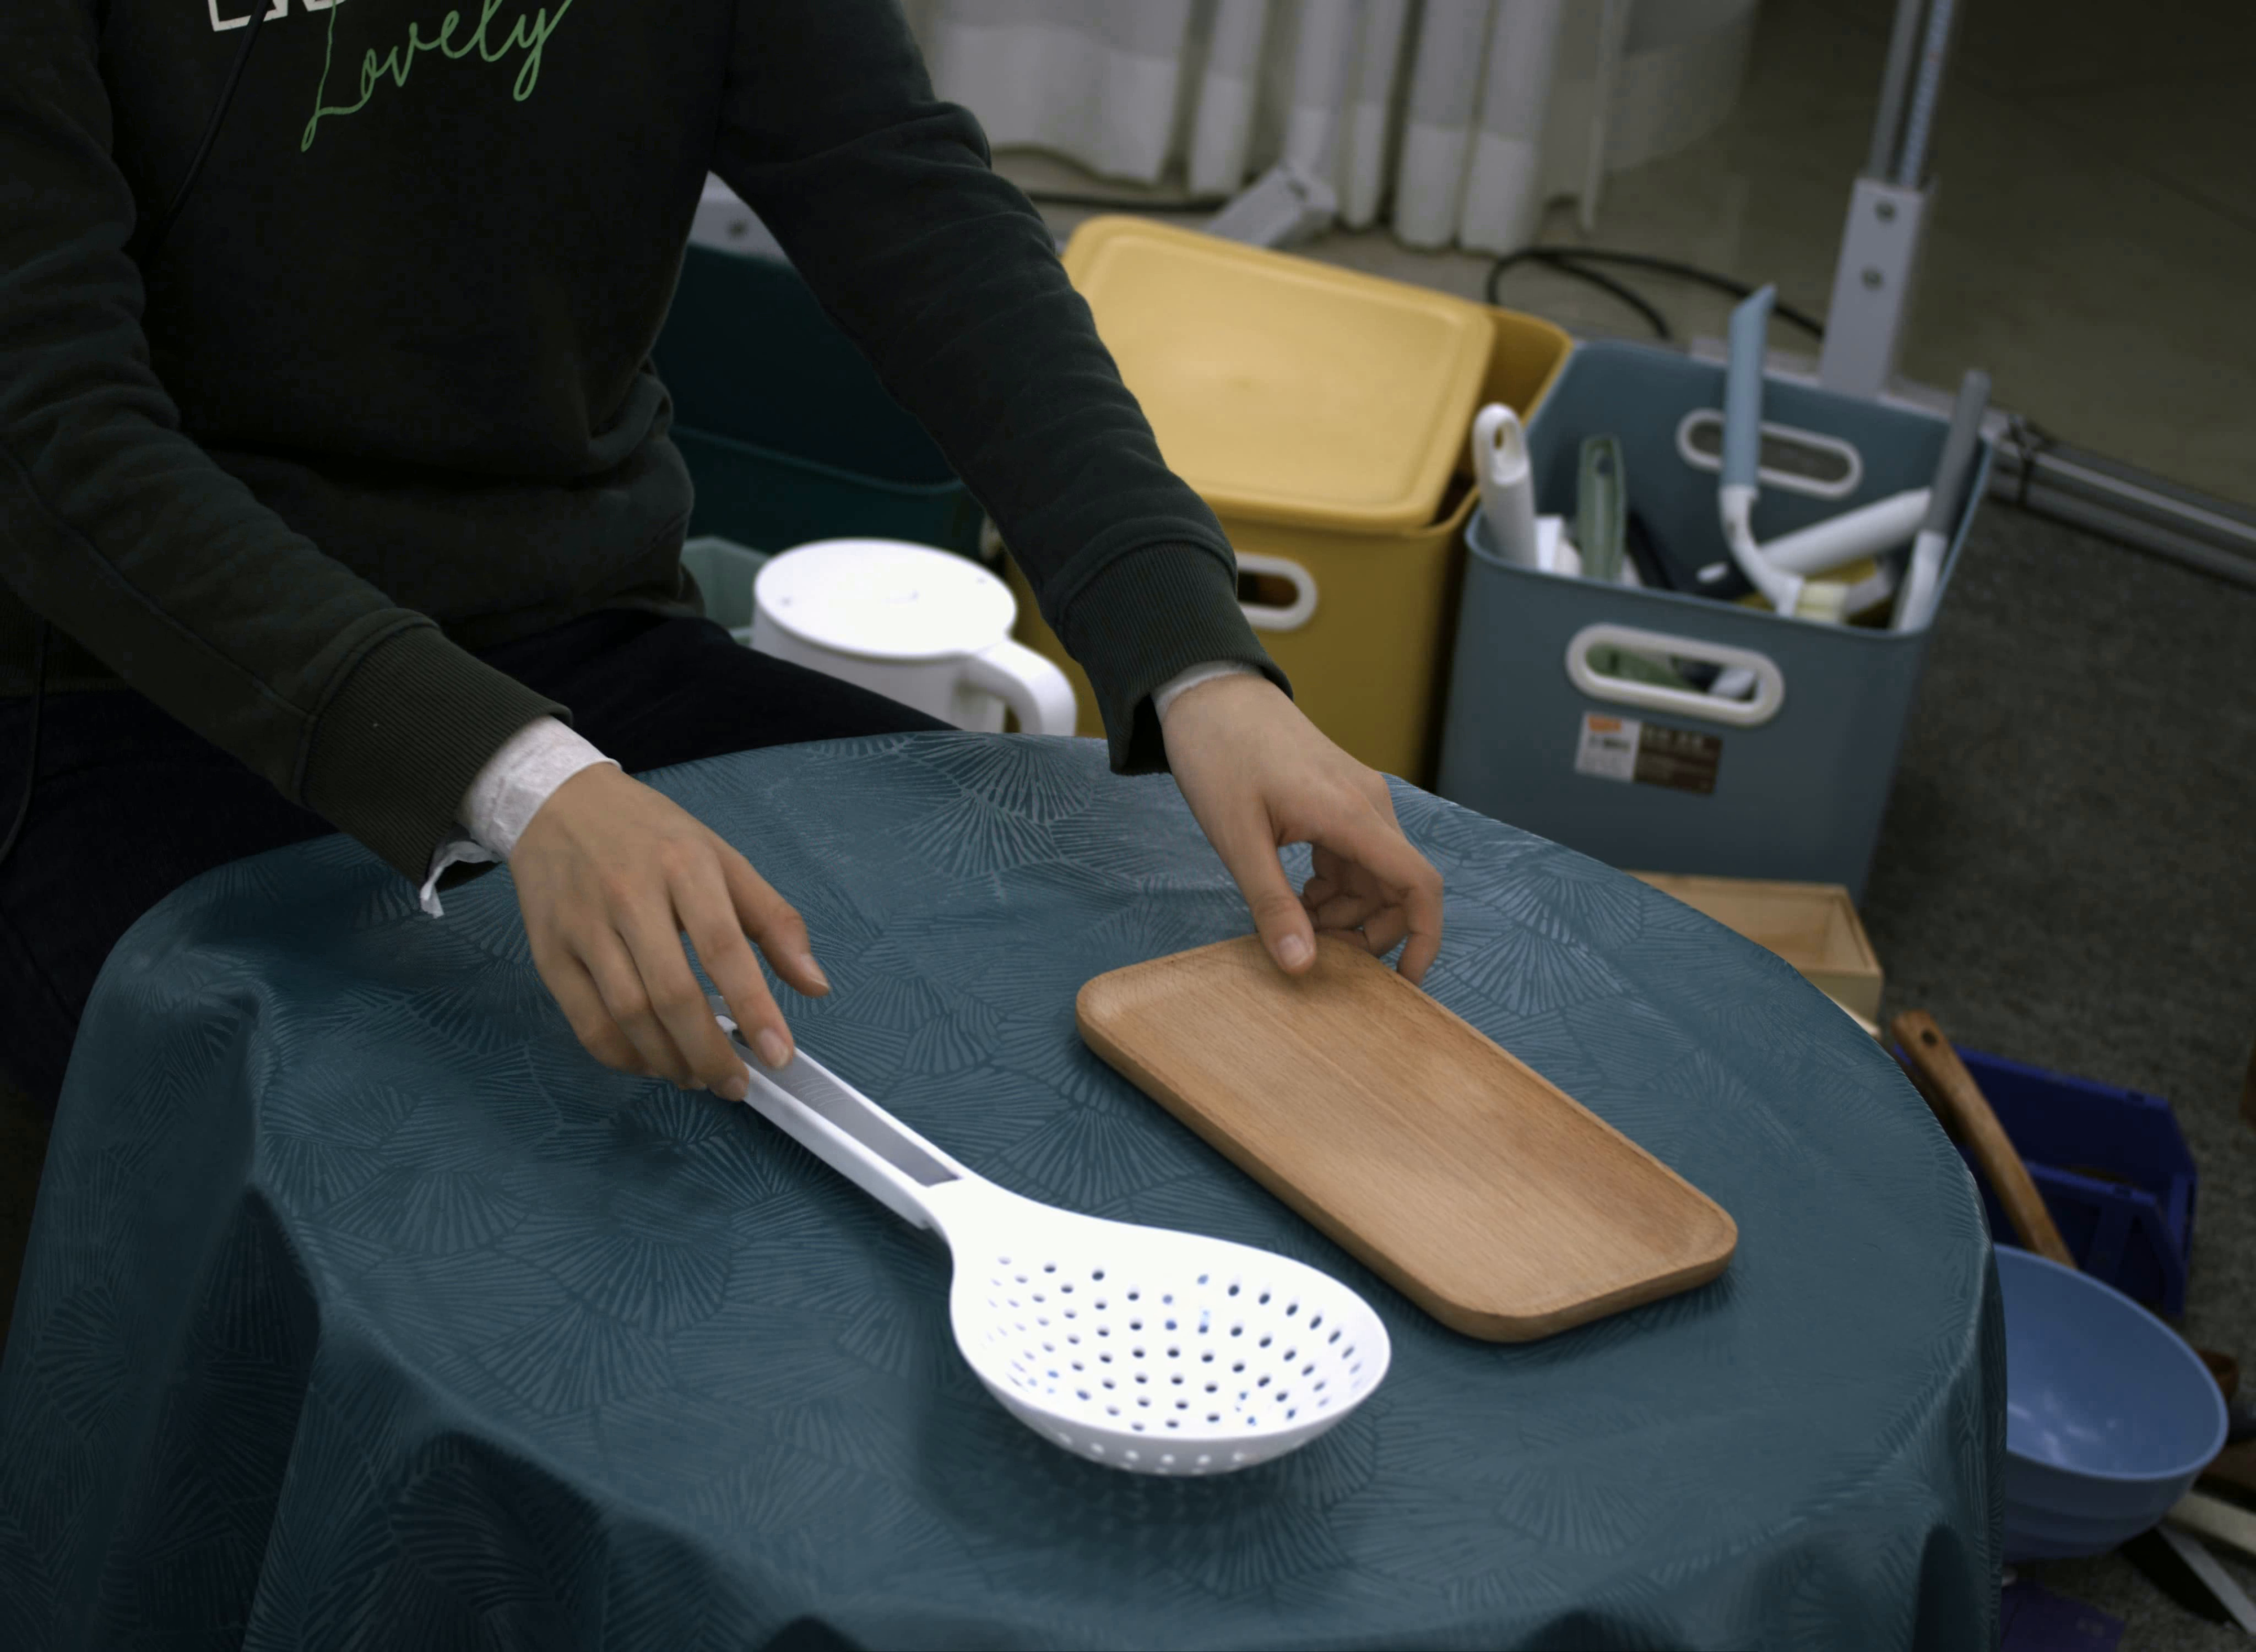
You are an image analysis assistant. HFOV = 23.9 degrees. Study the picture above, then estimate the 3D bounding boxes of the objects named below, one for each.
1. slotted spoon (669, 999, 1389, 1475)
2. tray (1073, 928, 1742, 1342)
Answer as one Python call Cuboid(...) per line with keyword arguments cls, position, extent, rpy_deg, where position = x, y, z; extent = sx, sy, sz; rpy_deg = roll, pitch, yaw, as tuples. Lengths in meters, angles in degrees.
Cuboid(cls="slotted spoon", position=(-0.050, 0.127, 1.731), extent=(0.135, 0.045, 0.353), rpy_deg=(-10, 30, -34))
Cuboid(cls="tray", position=(0.093, 0.104, 1.841), extent=(0.130, 0.023, 0.253), rpy_deg=(-11, 31, -35))
